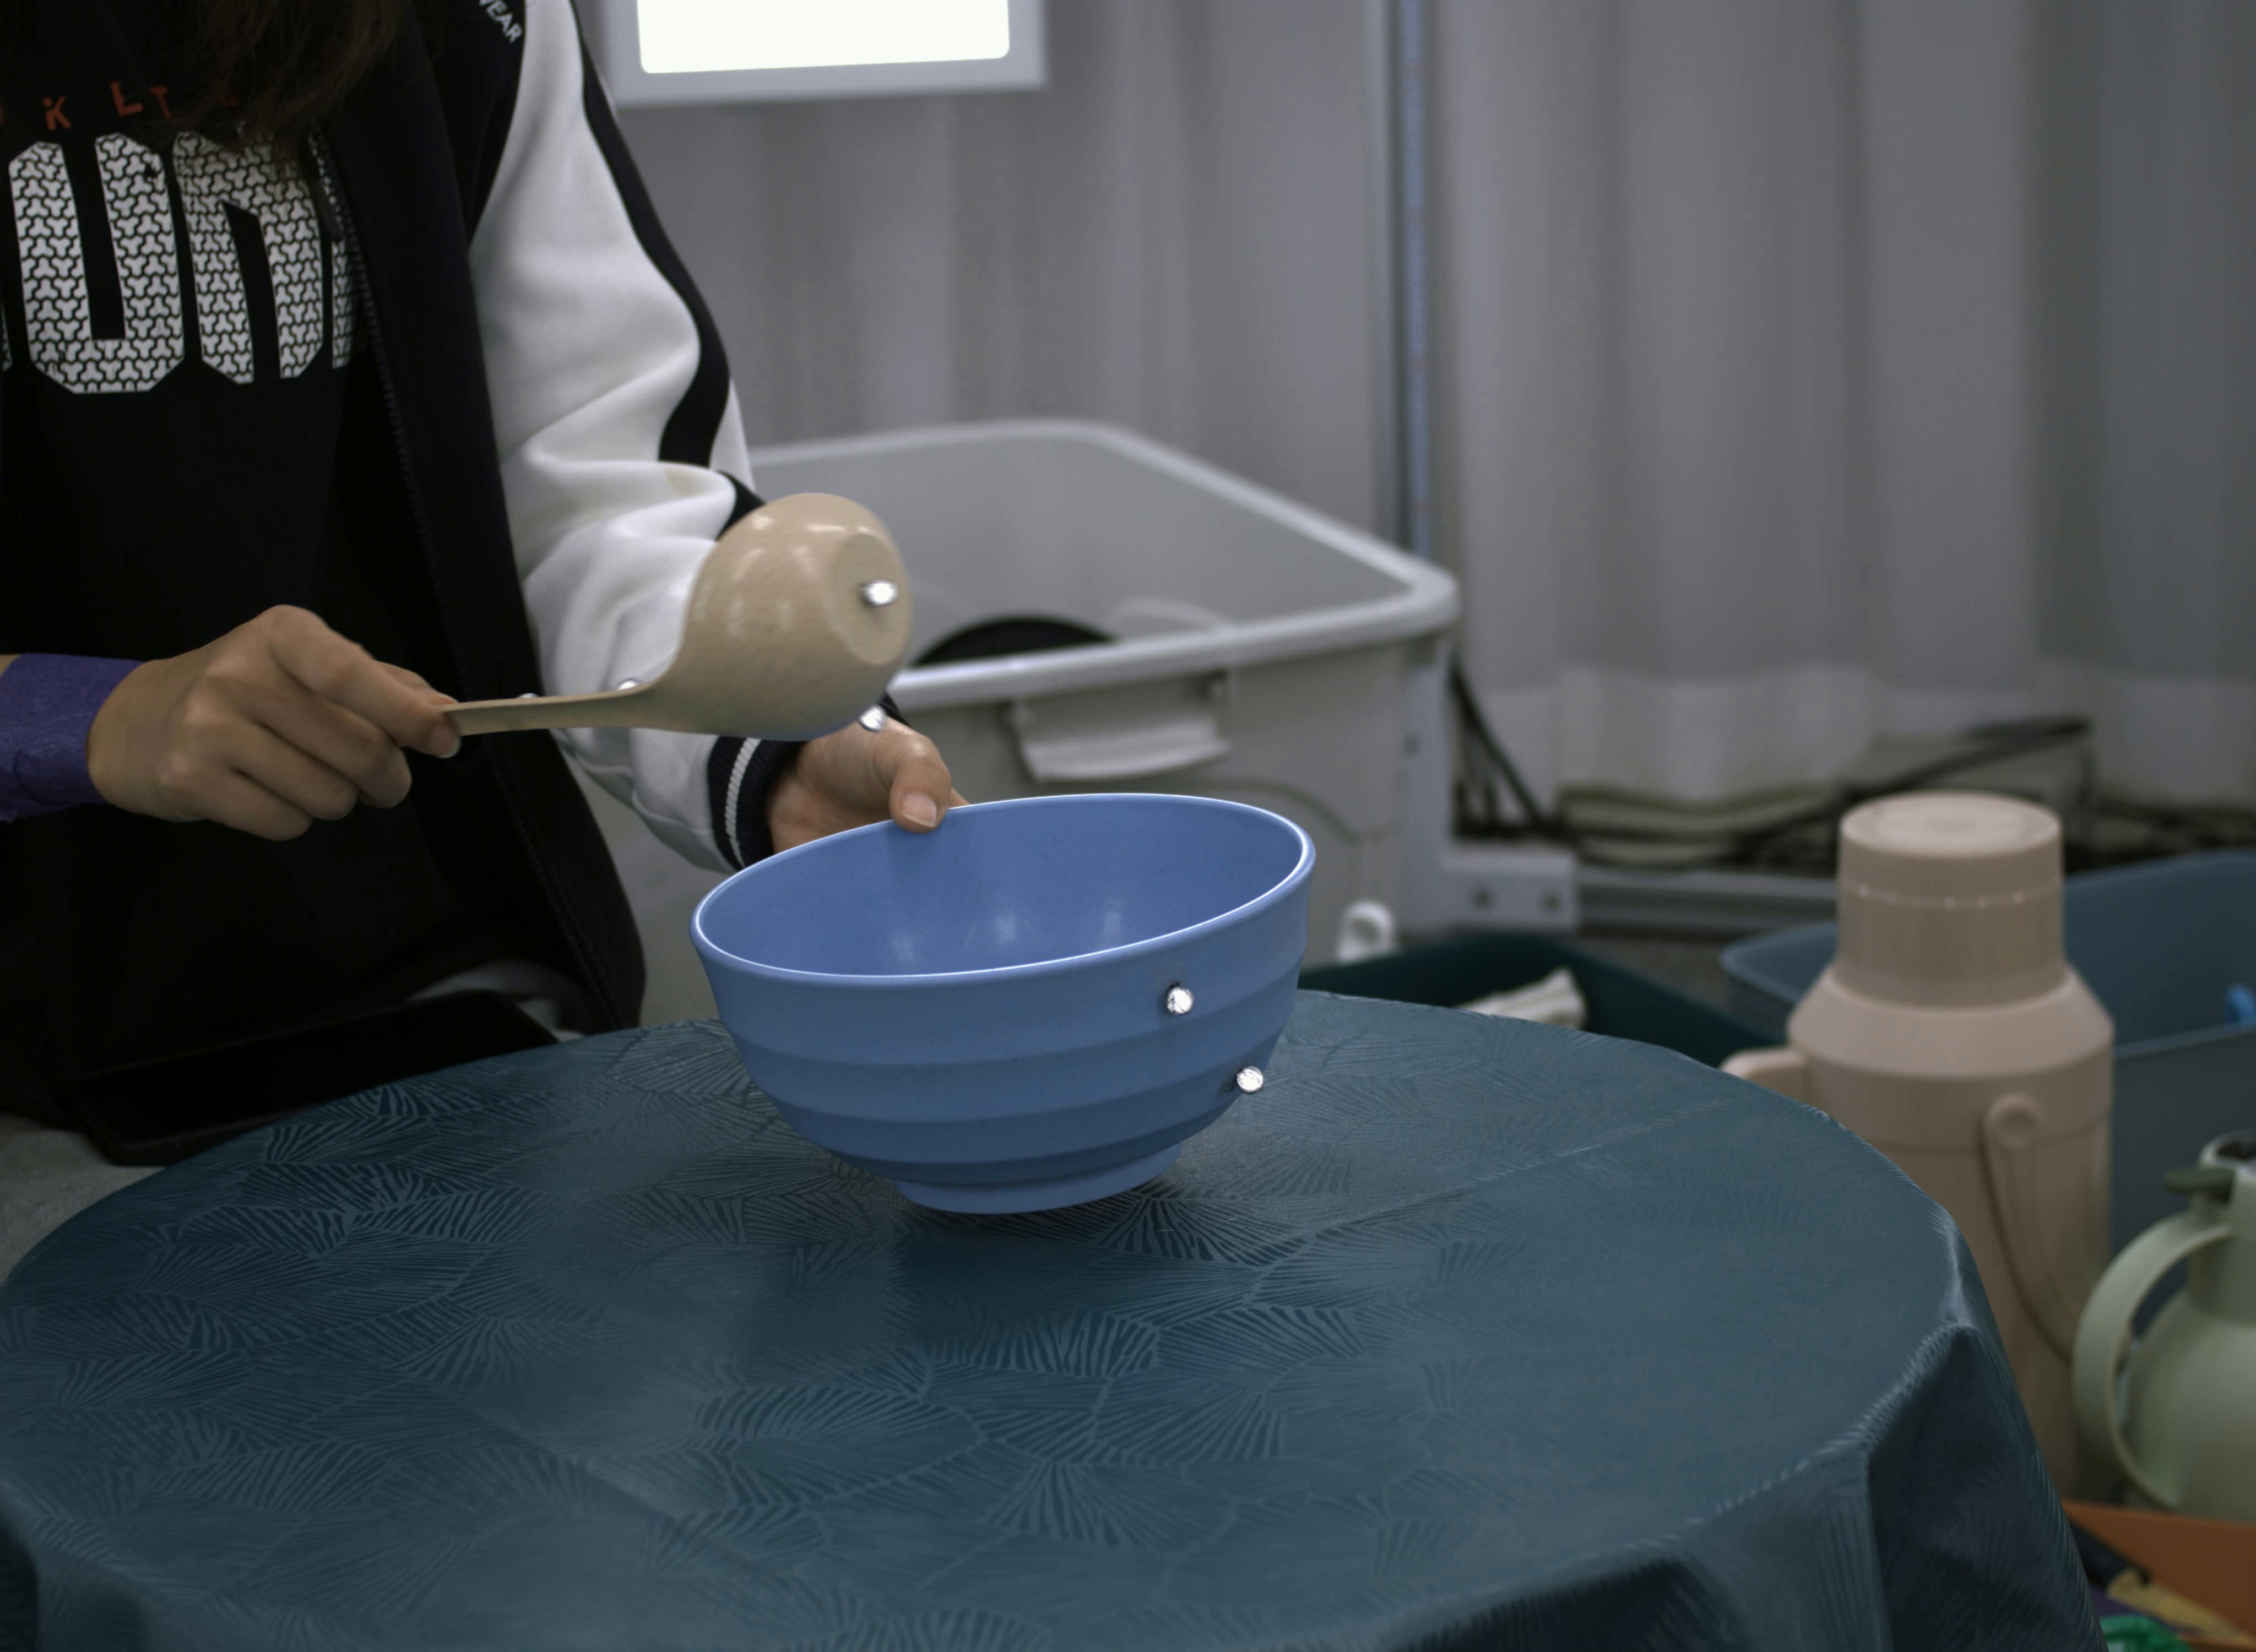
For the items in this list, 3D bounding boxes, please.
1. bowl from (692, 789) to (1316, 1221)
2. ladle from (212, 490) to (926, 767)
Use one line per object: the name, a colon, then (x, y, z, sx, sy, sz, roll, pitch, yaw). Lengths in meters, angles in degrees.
bowl: (-0.033, 0.063, 1.709, 0.196, 0.095, 0.198, -8, 16, 2)
ladle: (-0.172, -0.056, 1.680, 0.254, 0.071, 0.073, -5, 40, 36)
